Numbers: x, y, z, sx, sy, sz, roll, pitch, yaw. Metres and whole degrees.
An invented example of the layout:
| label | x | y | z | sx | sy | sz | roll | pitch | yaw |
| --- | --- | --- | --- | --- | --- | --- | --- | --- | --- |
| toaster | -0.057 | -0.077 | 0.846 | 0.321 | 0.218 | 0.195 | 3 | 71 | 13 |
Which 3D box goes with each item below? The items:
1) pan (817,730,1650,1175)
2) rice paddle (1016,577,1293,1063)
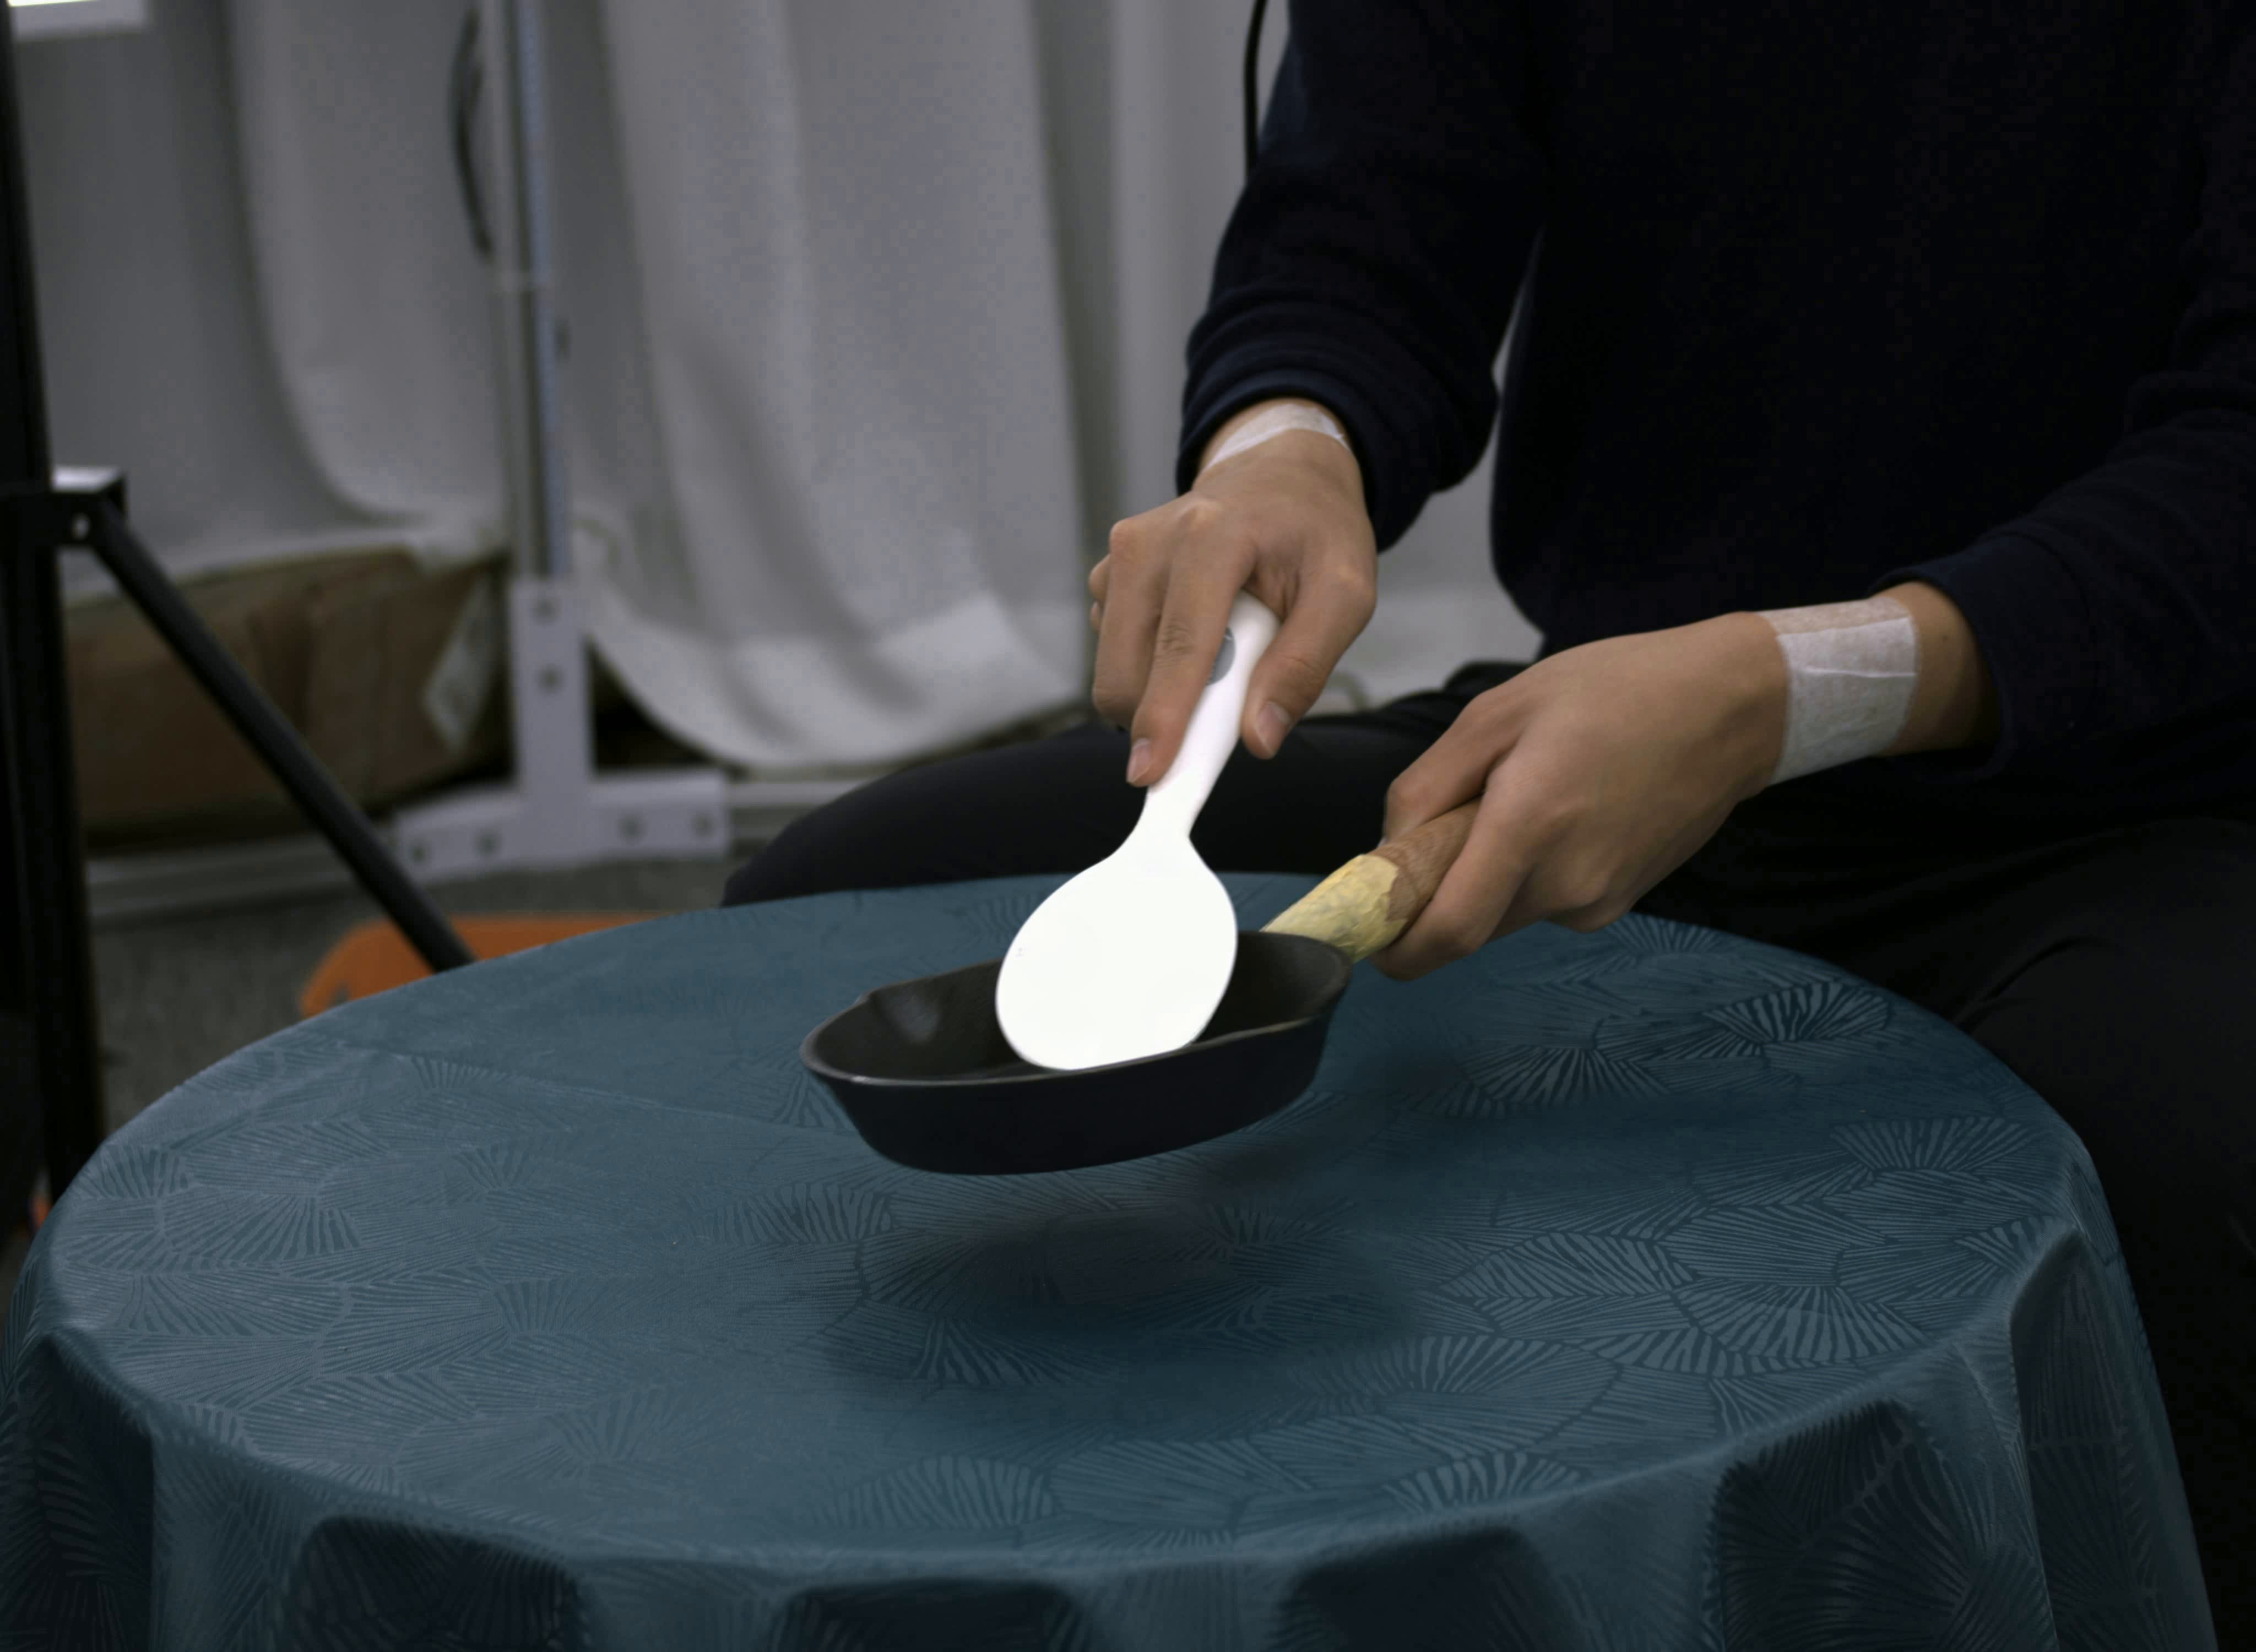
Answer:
| label | x | y | z | sx | sy | sz | roll | pitch | yaw |
| --- | --- | --- | --- | --- | --- | --- | --- | --- | --- |
| pan | 0.050 | 0.035 | 1.549 | 0.317 | 0.049 | 0.172 | -21 | 17 | -39 |
| rice paddle | 0.015 | 0.001 | 1.579 | 0.069 | 0.029 | 0.205 | 0 | 41 | 17 |
